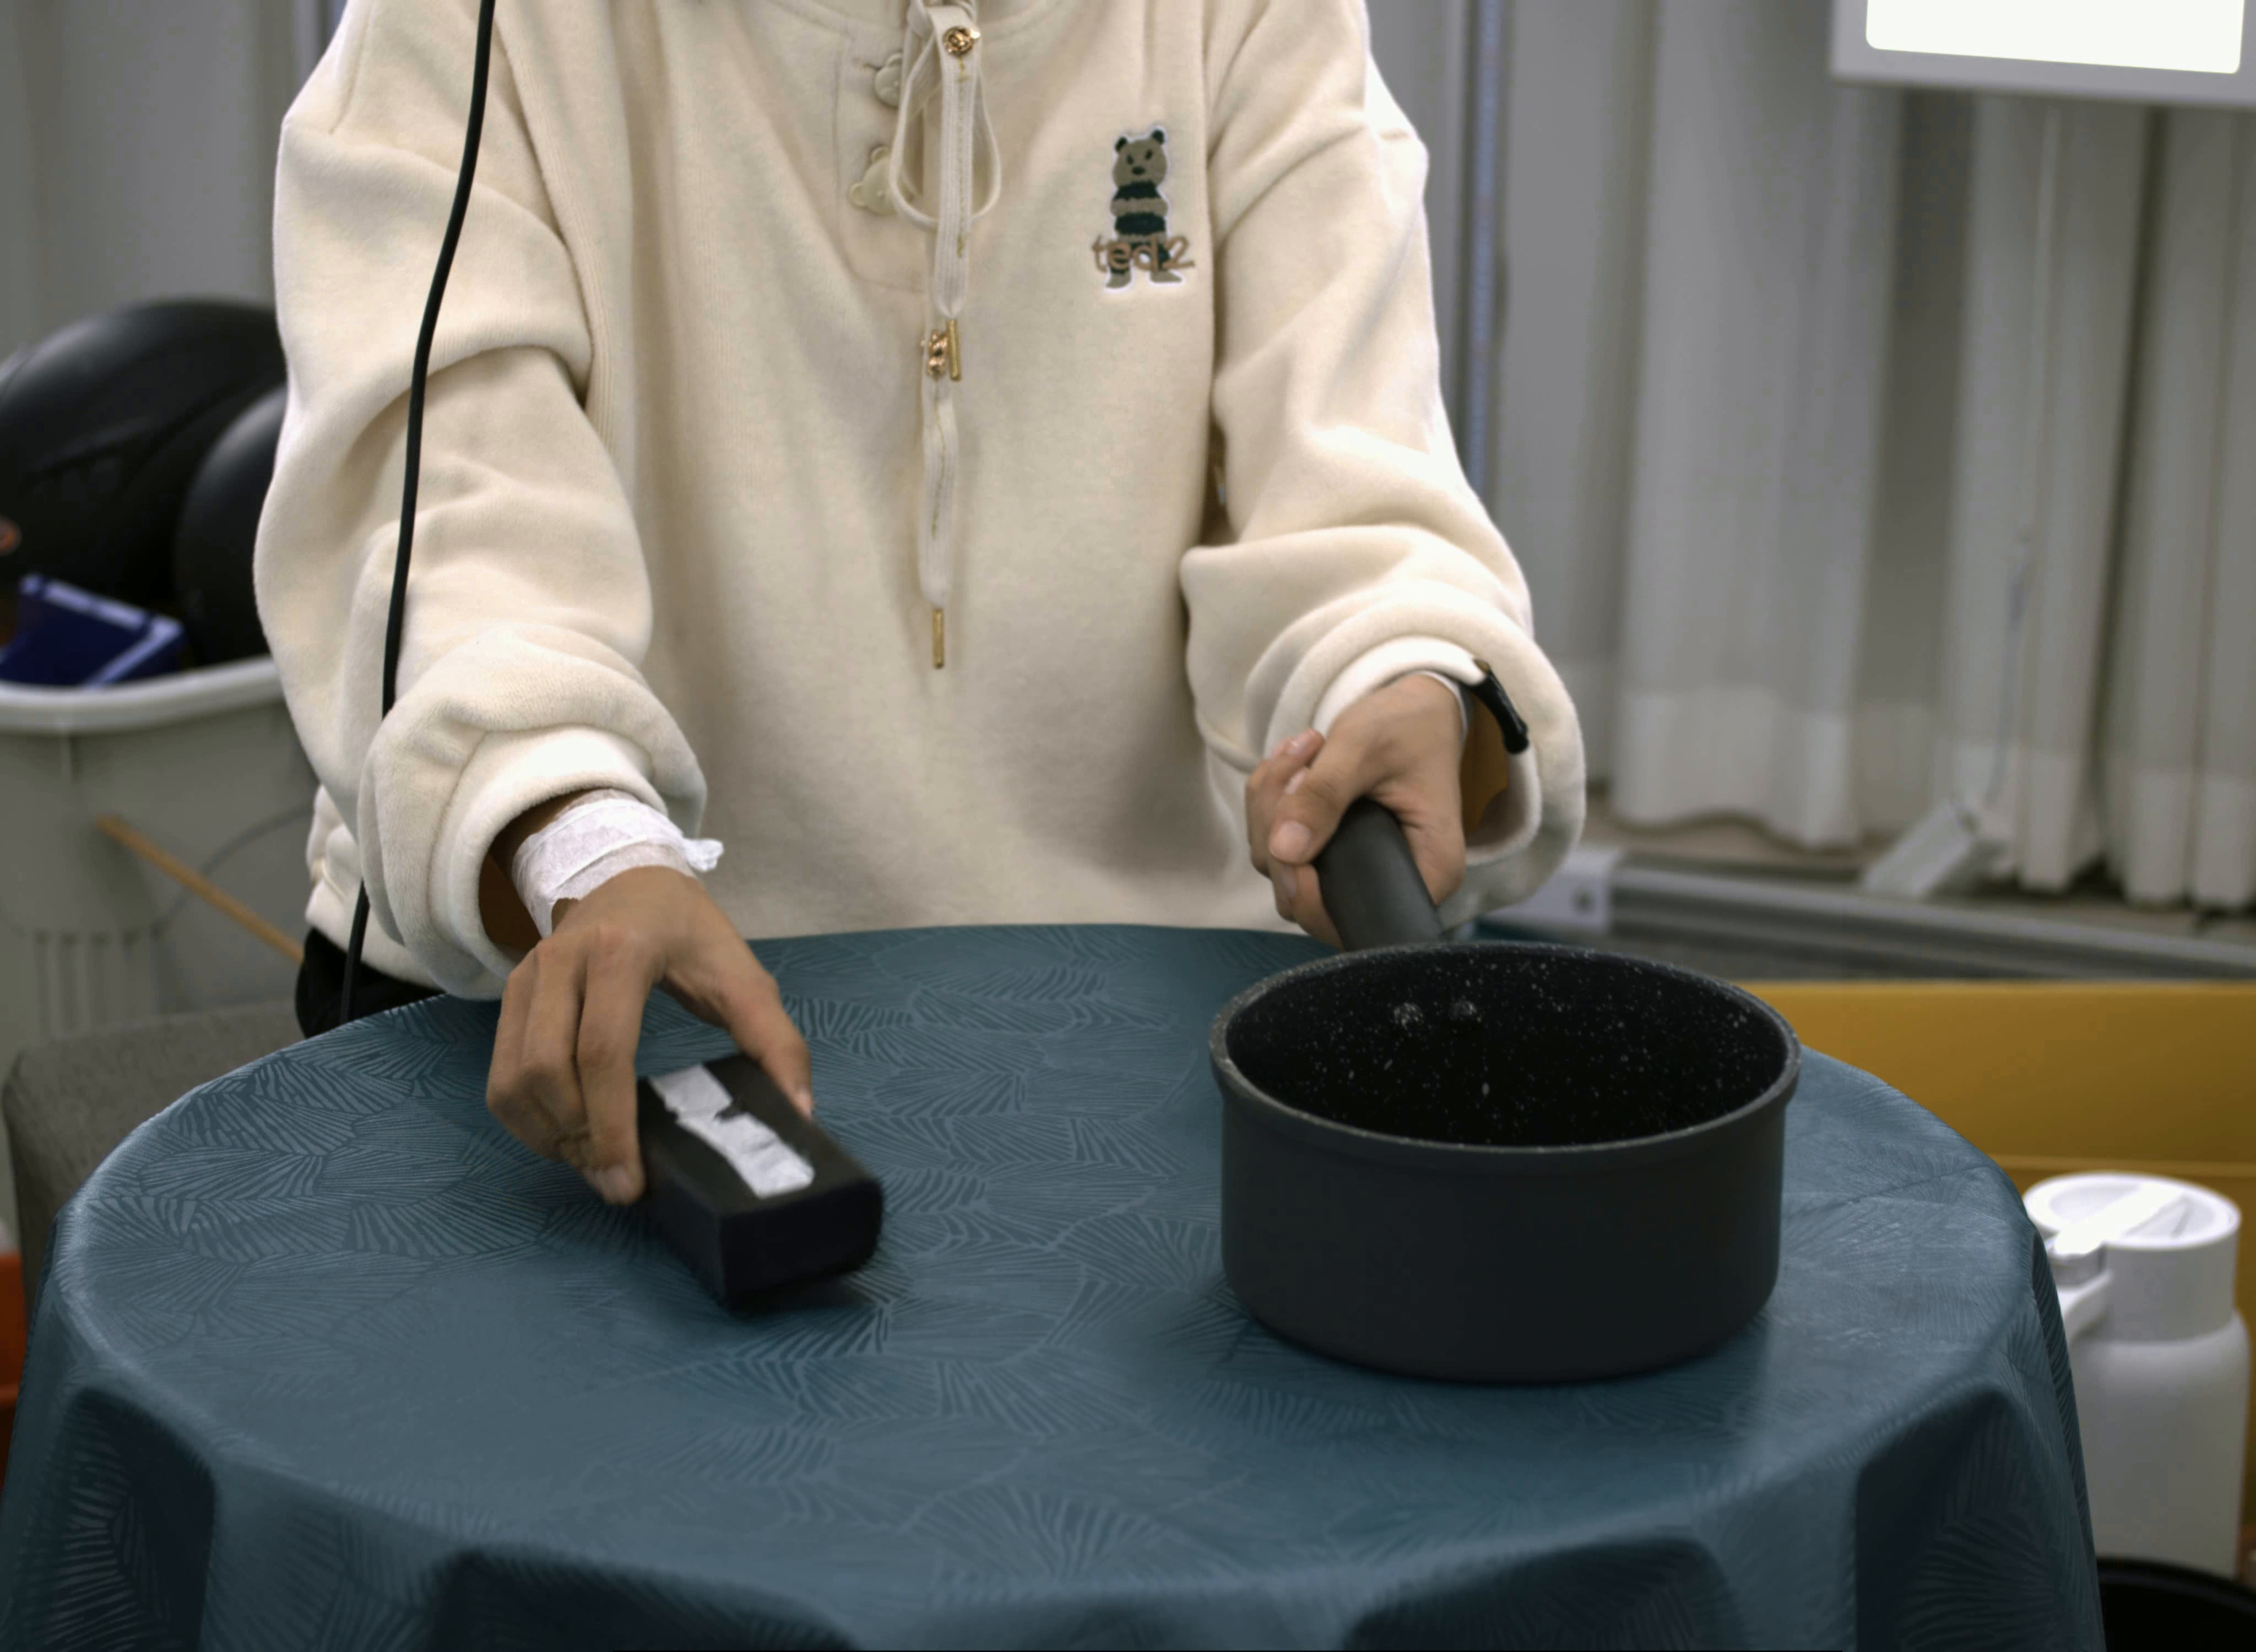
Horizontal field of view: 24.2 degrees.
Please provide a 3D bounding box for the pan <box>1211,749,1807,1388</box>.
[{"bbox_3d":[0.098,0.069,1.598,0.172,0.087,0.326,-2,20,-8],"label":"pan"}]

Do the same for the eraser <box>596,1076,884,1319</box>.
[{"bbox_3d":[-0.115,0.108,1.559,0.053,0.031,0.124,-13,19,-18],"label":"eraser"}]
